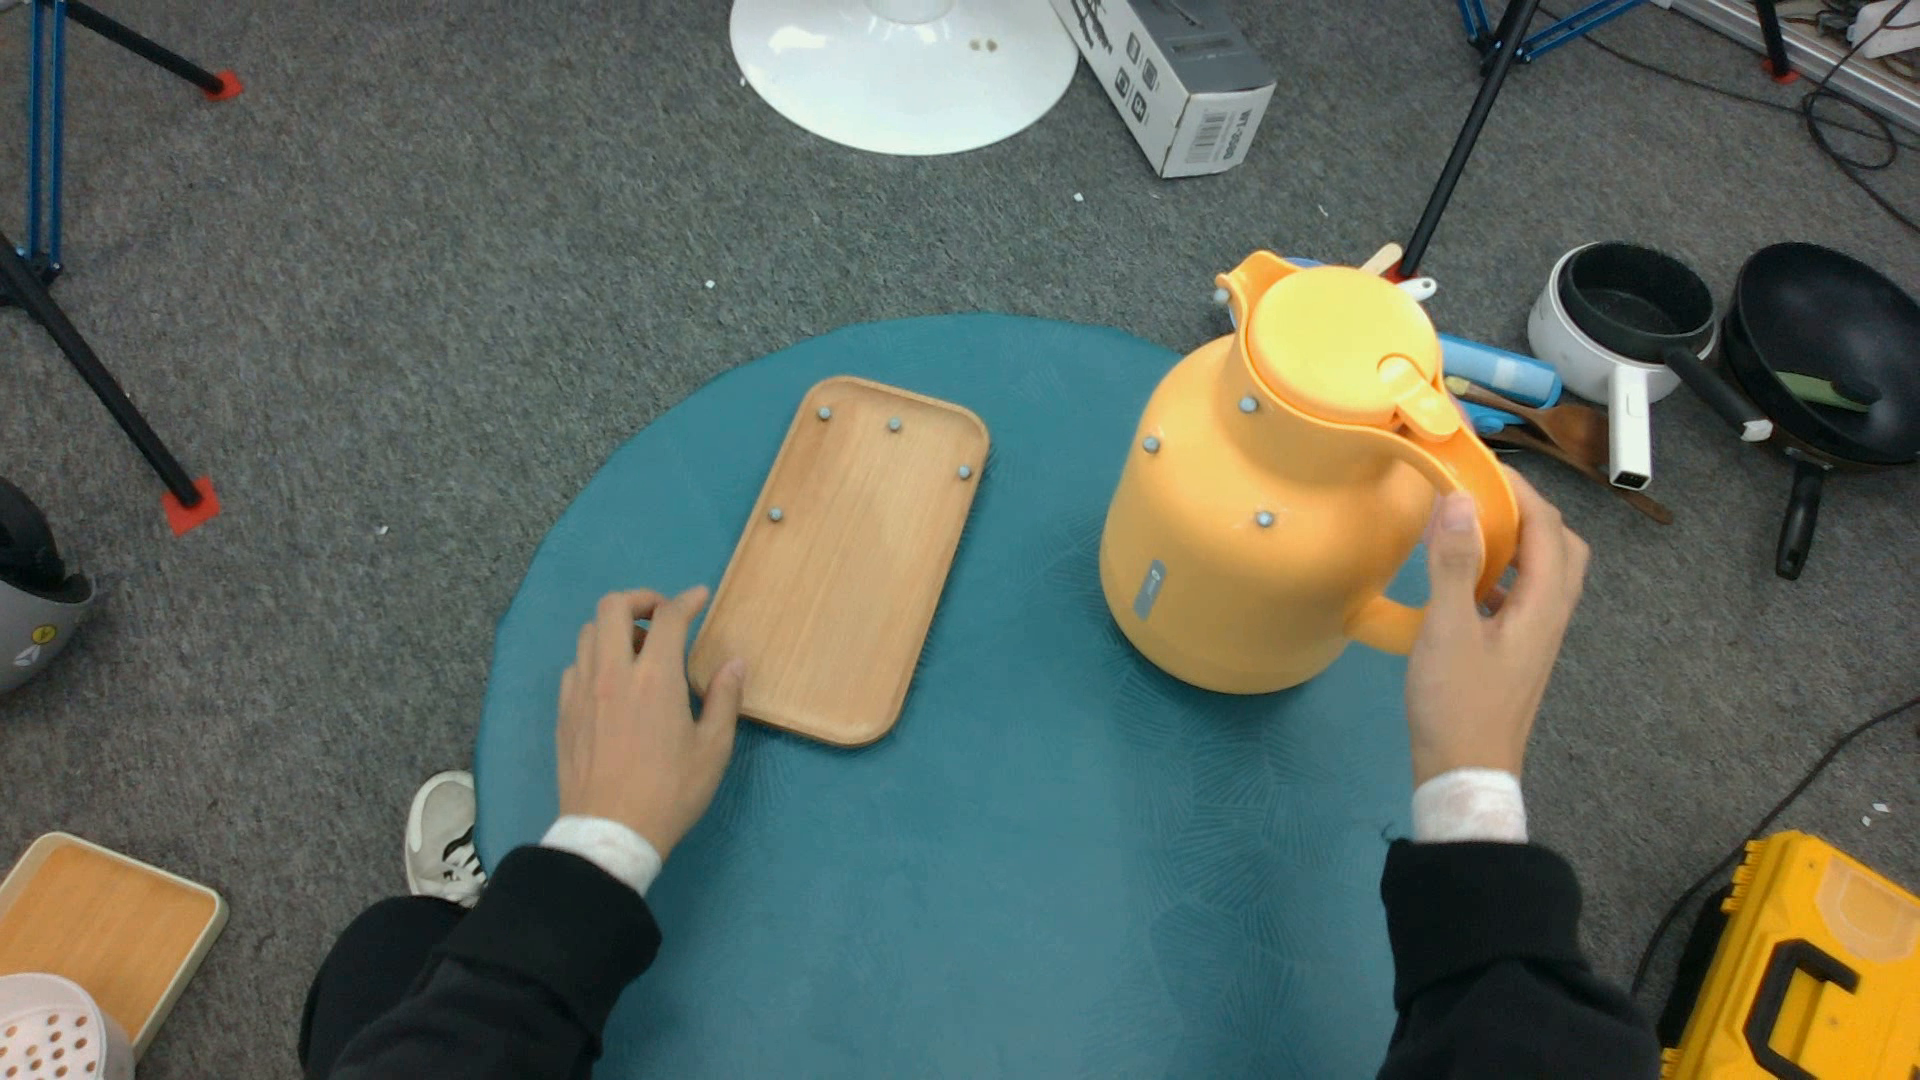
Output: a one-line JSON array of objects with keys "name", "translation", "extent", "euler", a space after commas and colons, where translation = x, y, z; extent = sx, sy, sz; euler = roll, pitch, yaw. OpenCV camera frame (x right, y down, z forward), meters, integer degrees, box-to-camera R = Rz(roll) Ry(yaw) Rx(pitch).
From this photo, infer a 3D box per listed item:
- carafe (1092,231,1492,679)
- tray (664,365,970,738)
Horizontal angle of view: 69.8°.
[{"name": "carafe", "translation": [0.175, -0.028, 0.743], "extent": [0.164, 0.259, 0.202], "euler": [-32, 65, -19]}, {"name": "tray", "translation": [-0.082, 0.000, 0.843], "extent": [0.130, 0.023, 0.252], "euler": [15, 59, 6]}]
